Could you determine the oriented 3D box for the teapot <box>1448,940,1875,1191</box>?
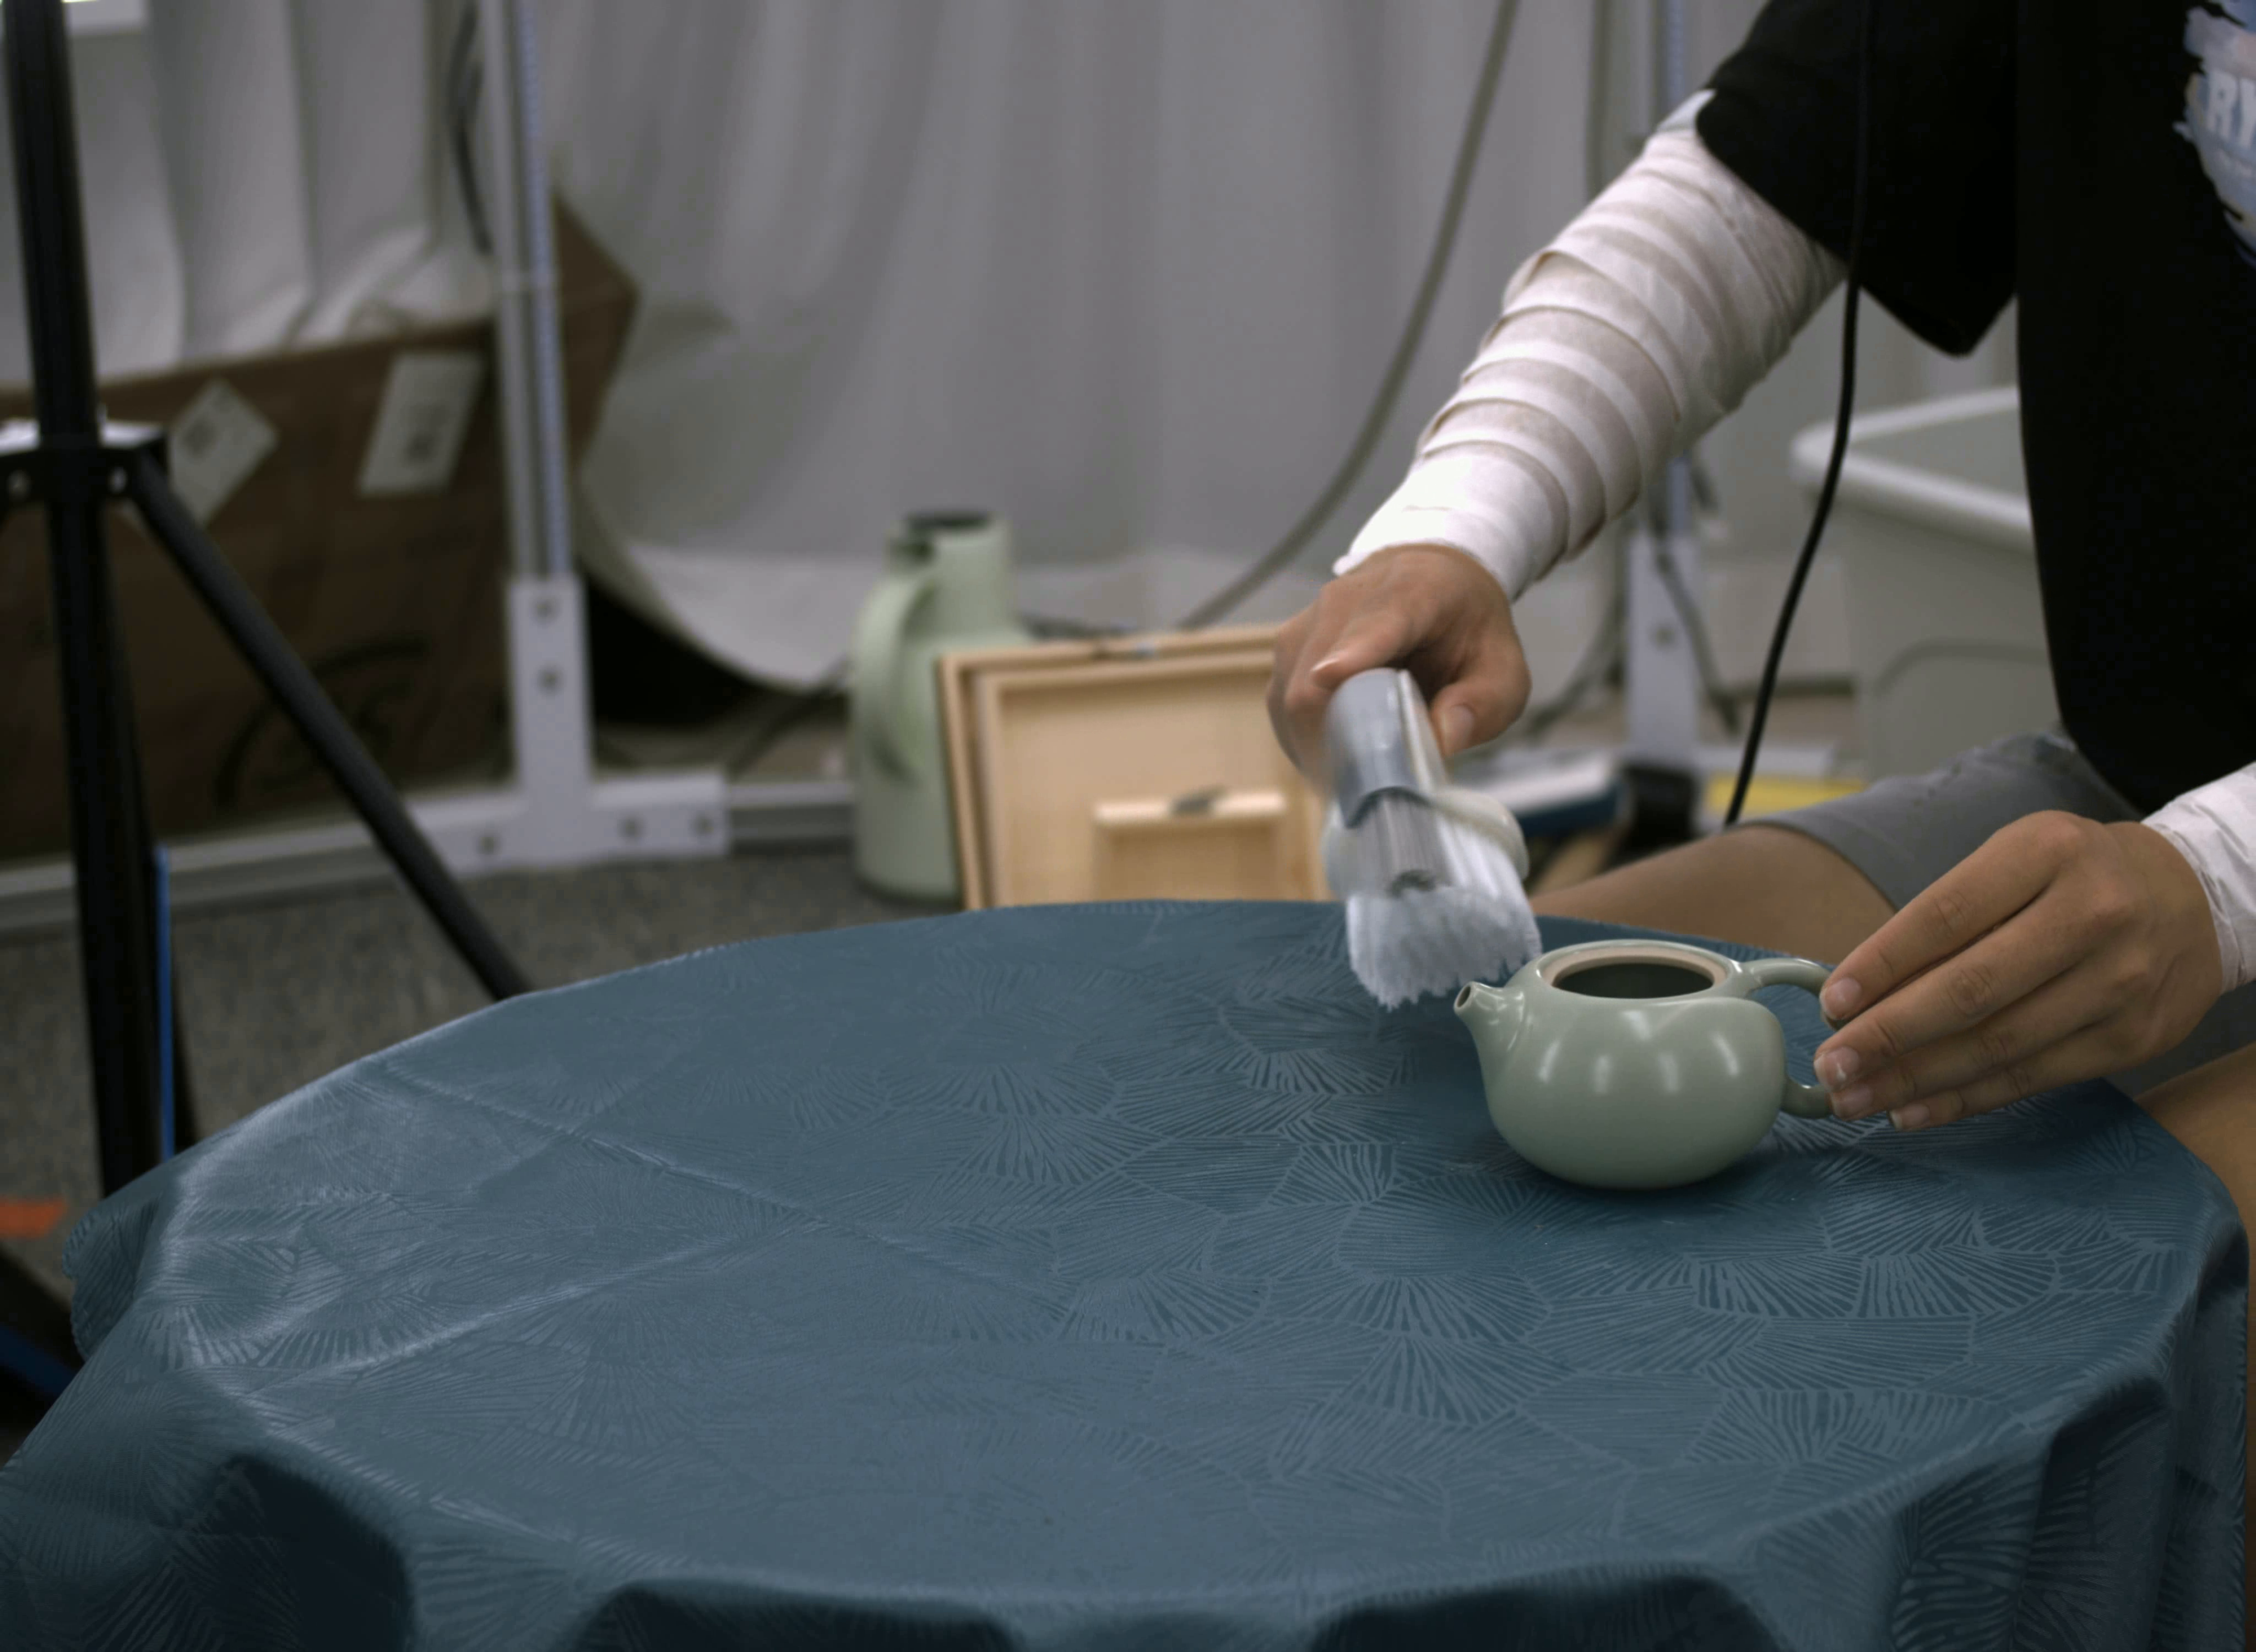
[{"bbox_3d":[0.158,0.070,1.558,0.127,0.061,0.092,-4,14,-5],"label":"teapot"}]

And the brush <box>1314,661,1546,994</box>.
[{"bbox_3d":[0.084,-0.007,1.623,0.061,0.095,0.173,-19,-13,7],"label":"brush"}]
